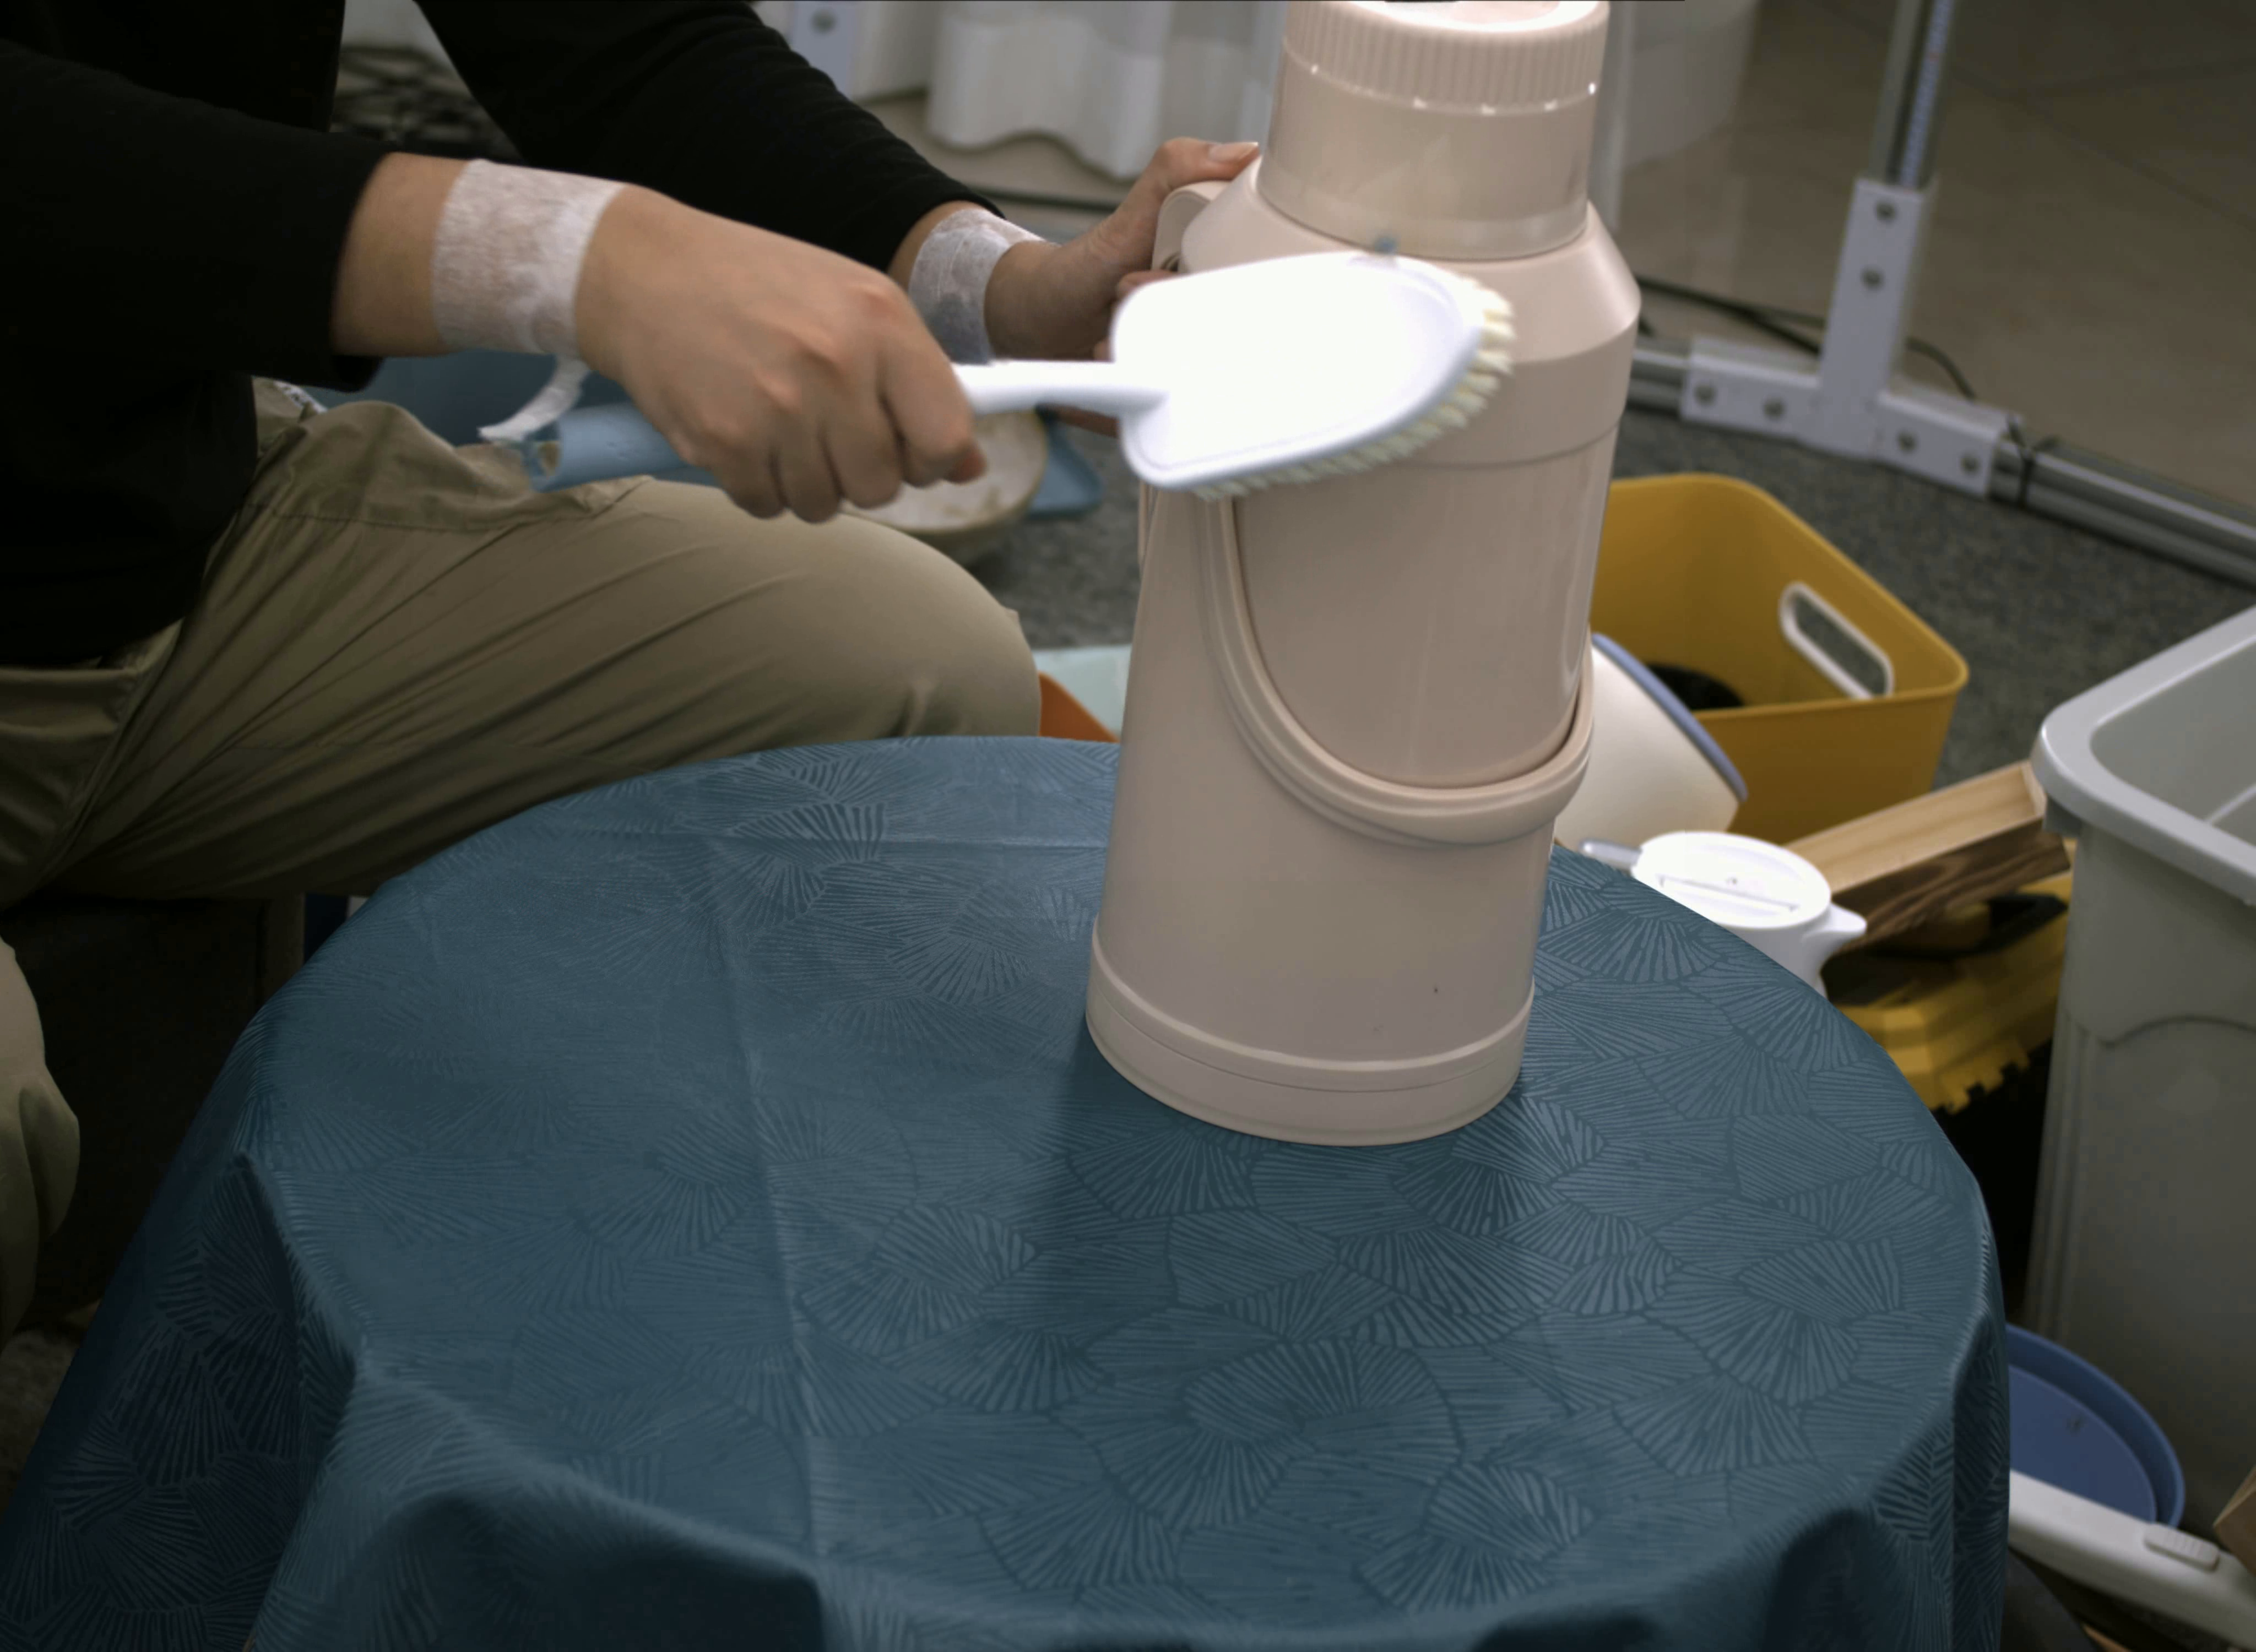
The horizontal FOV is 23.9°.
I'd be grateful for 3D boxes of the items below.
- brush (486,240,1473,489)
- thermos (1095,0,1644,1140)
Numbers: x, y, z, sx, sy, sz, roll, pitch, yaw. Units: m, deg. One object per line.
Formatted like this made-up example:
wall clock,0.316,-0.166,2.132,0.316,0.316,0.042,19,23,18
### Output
brush,-0.047,-0.141,1.722,0.325,0.084,0.083,-8,41,14
thermos,0.078,-0.108,1.837,0.174,0.405,0.209,-17,35,-36
